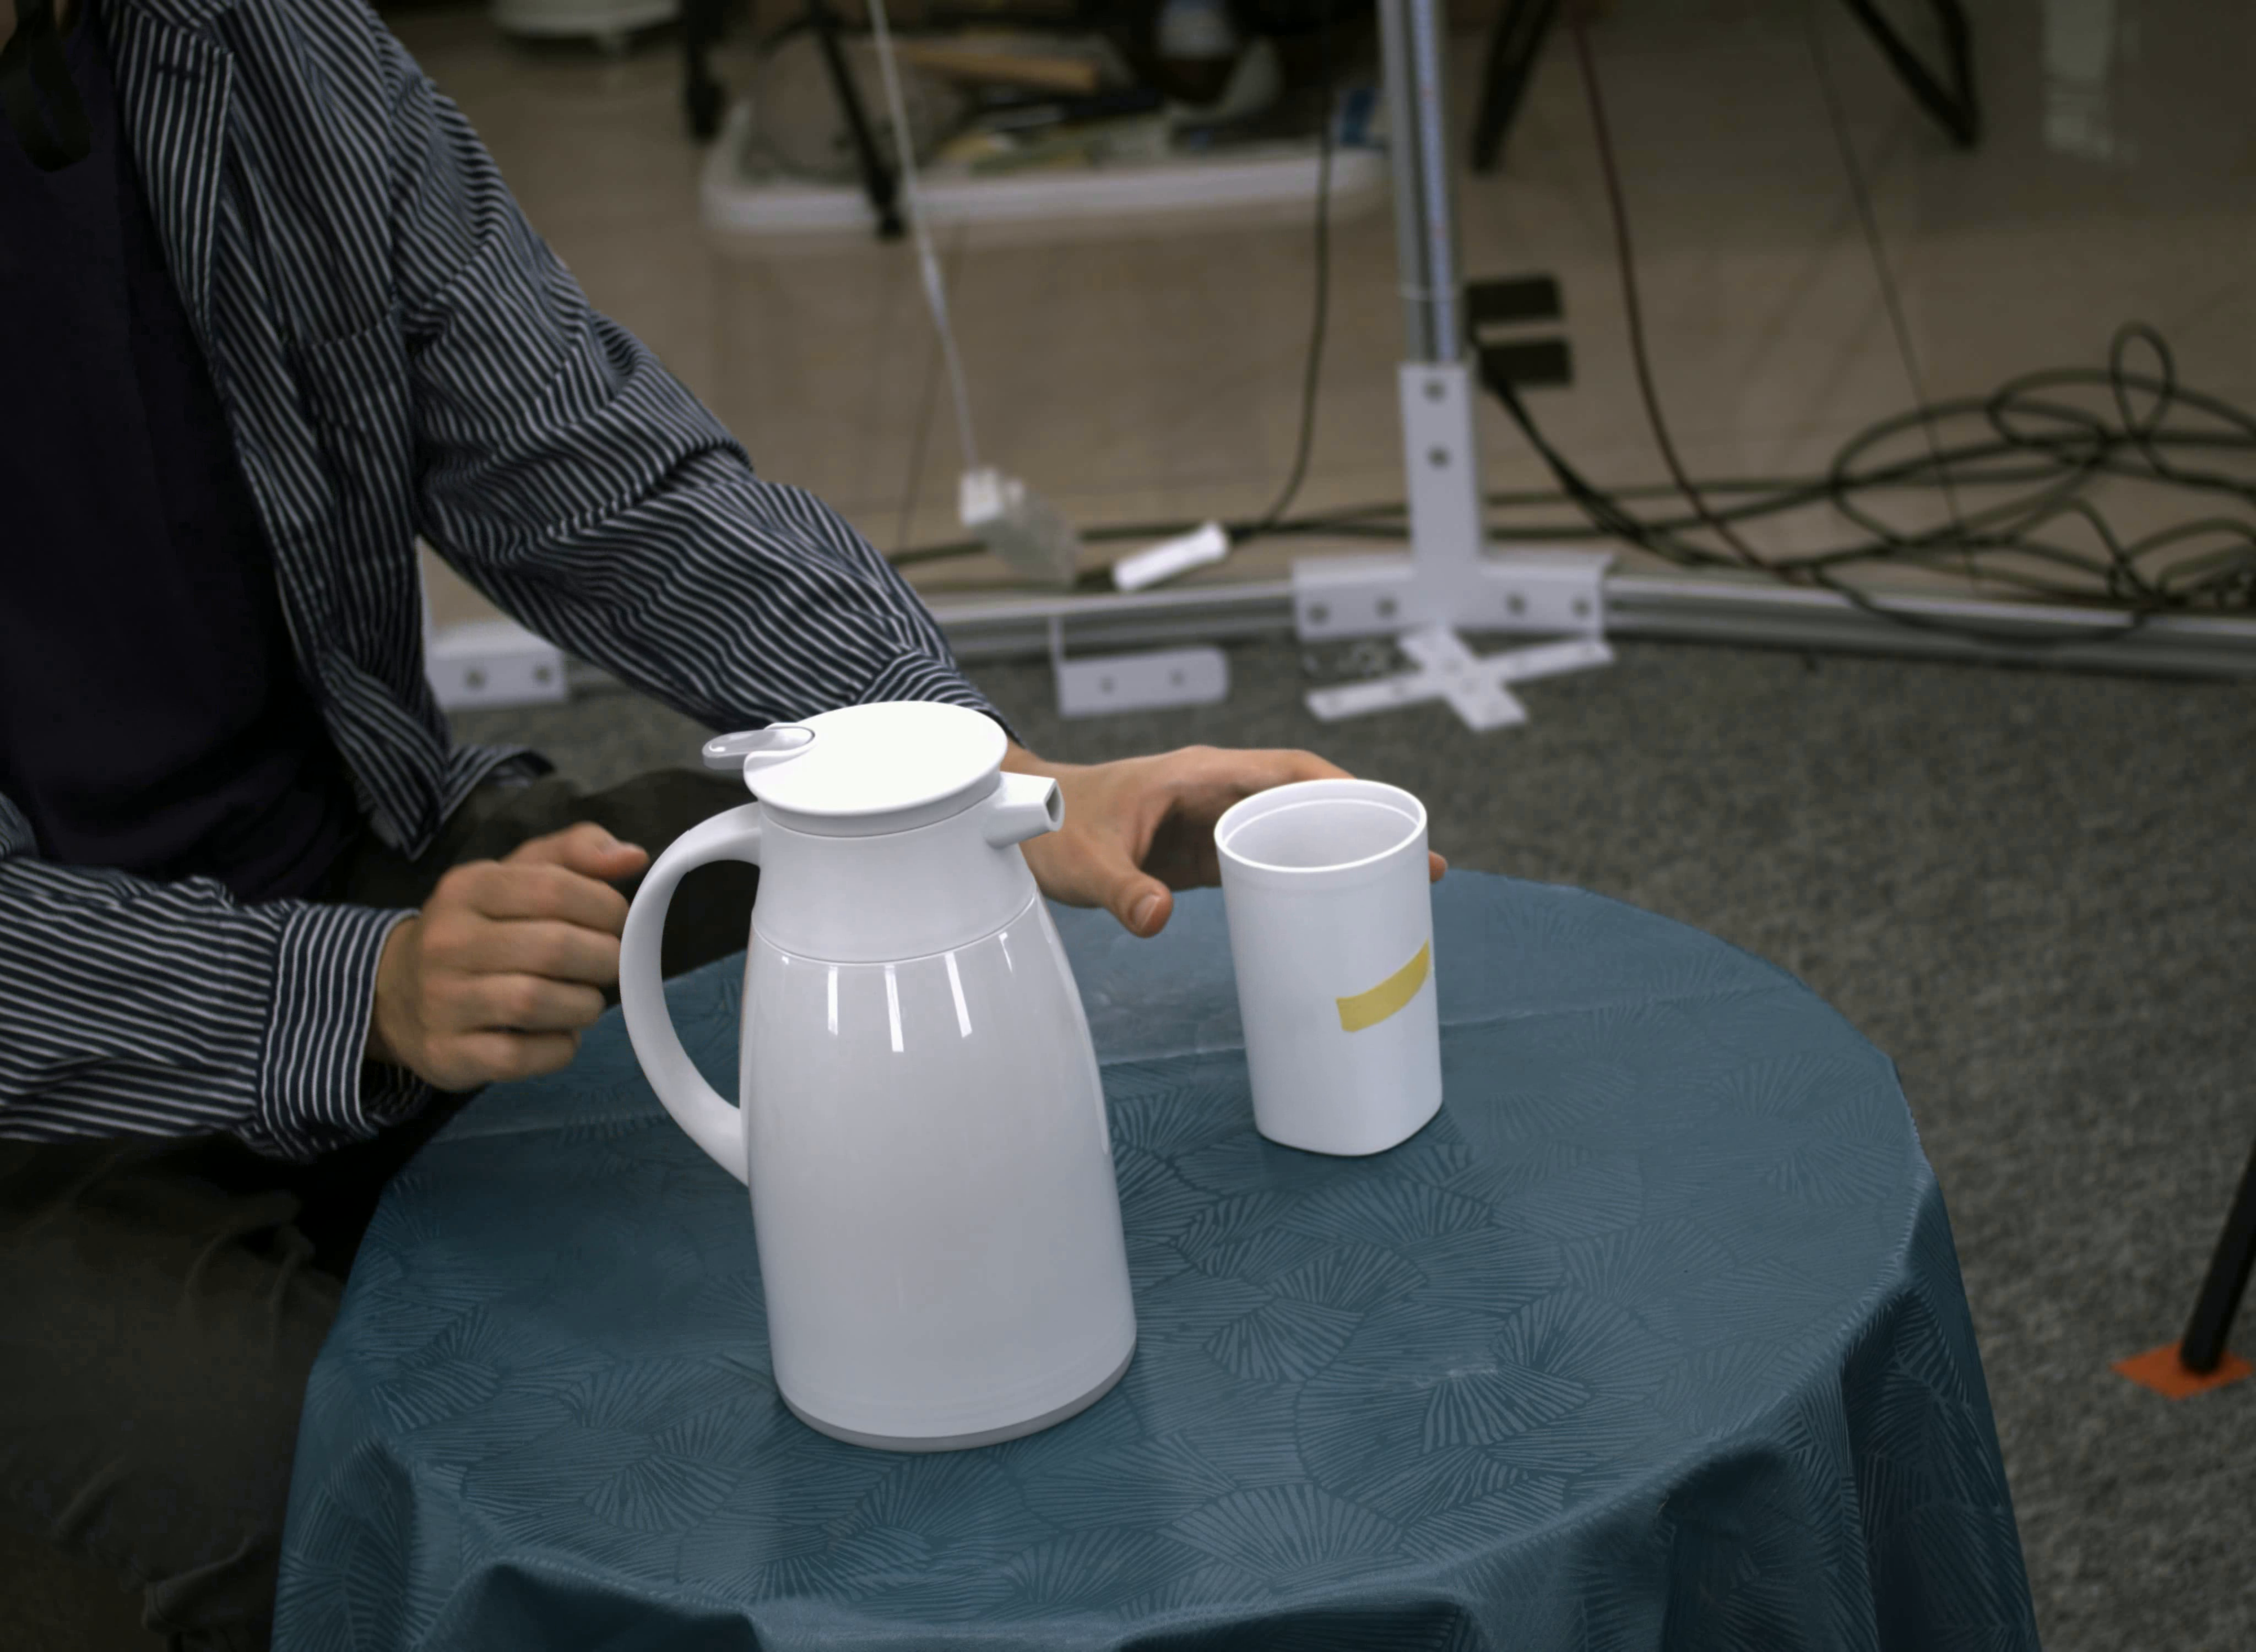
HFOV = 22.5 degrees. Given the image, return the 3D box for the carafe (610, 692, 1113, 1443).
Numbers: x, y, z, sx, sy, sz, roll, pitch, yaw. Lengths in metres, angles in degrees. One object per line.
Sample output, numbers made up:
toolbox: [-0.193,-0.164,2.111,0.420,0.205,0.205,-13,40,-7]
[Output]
carafe: [-0.097,0.079,1.997,0.167,0.253,0.130,-1,29,7]

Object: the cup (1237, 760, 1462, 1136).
cup: [0.088,0.048,2.168,0.081,0.127,0.080,-5,26,3]
